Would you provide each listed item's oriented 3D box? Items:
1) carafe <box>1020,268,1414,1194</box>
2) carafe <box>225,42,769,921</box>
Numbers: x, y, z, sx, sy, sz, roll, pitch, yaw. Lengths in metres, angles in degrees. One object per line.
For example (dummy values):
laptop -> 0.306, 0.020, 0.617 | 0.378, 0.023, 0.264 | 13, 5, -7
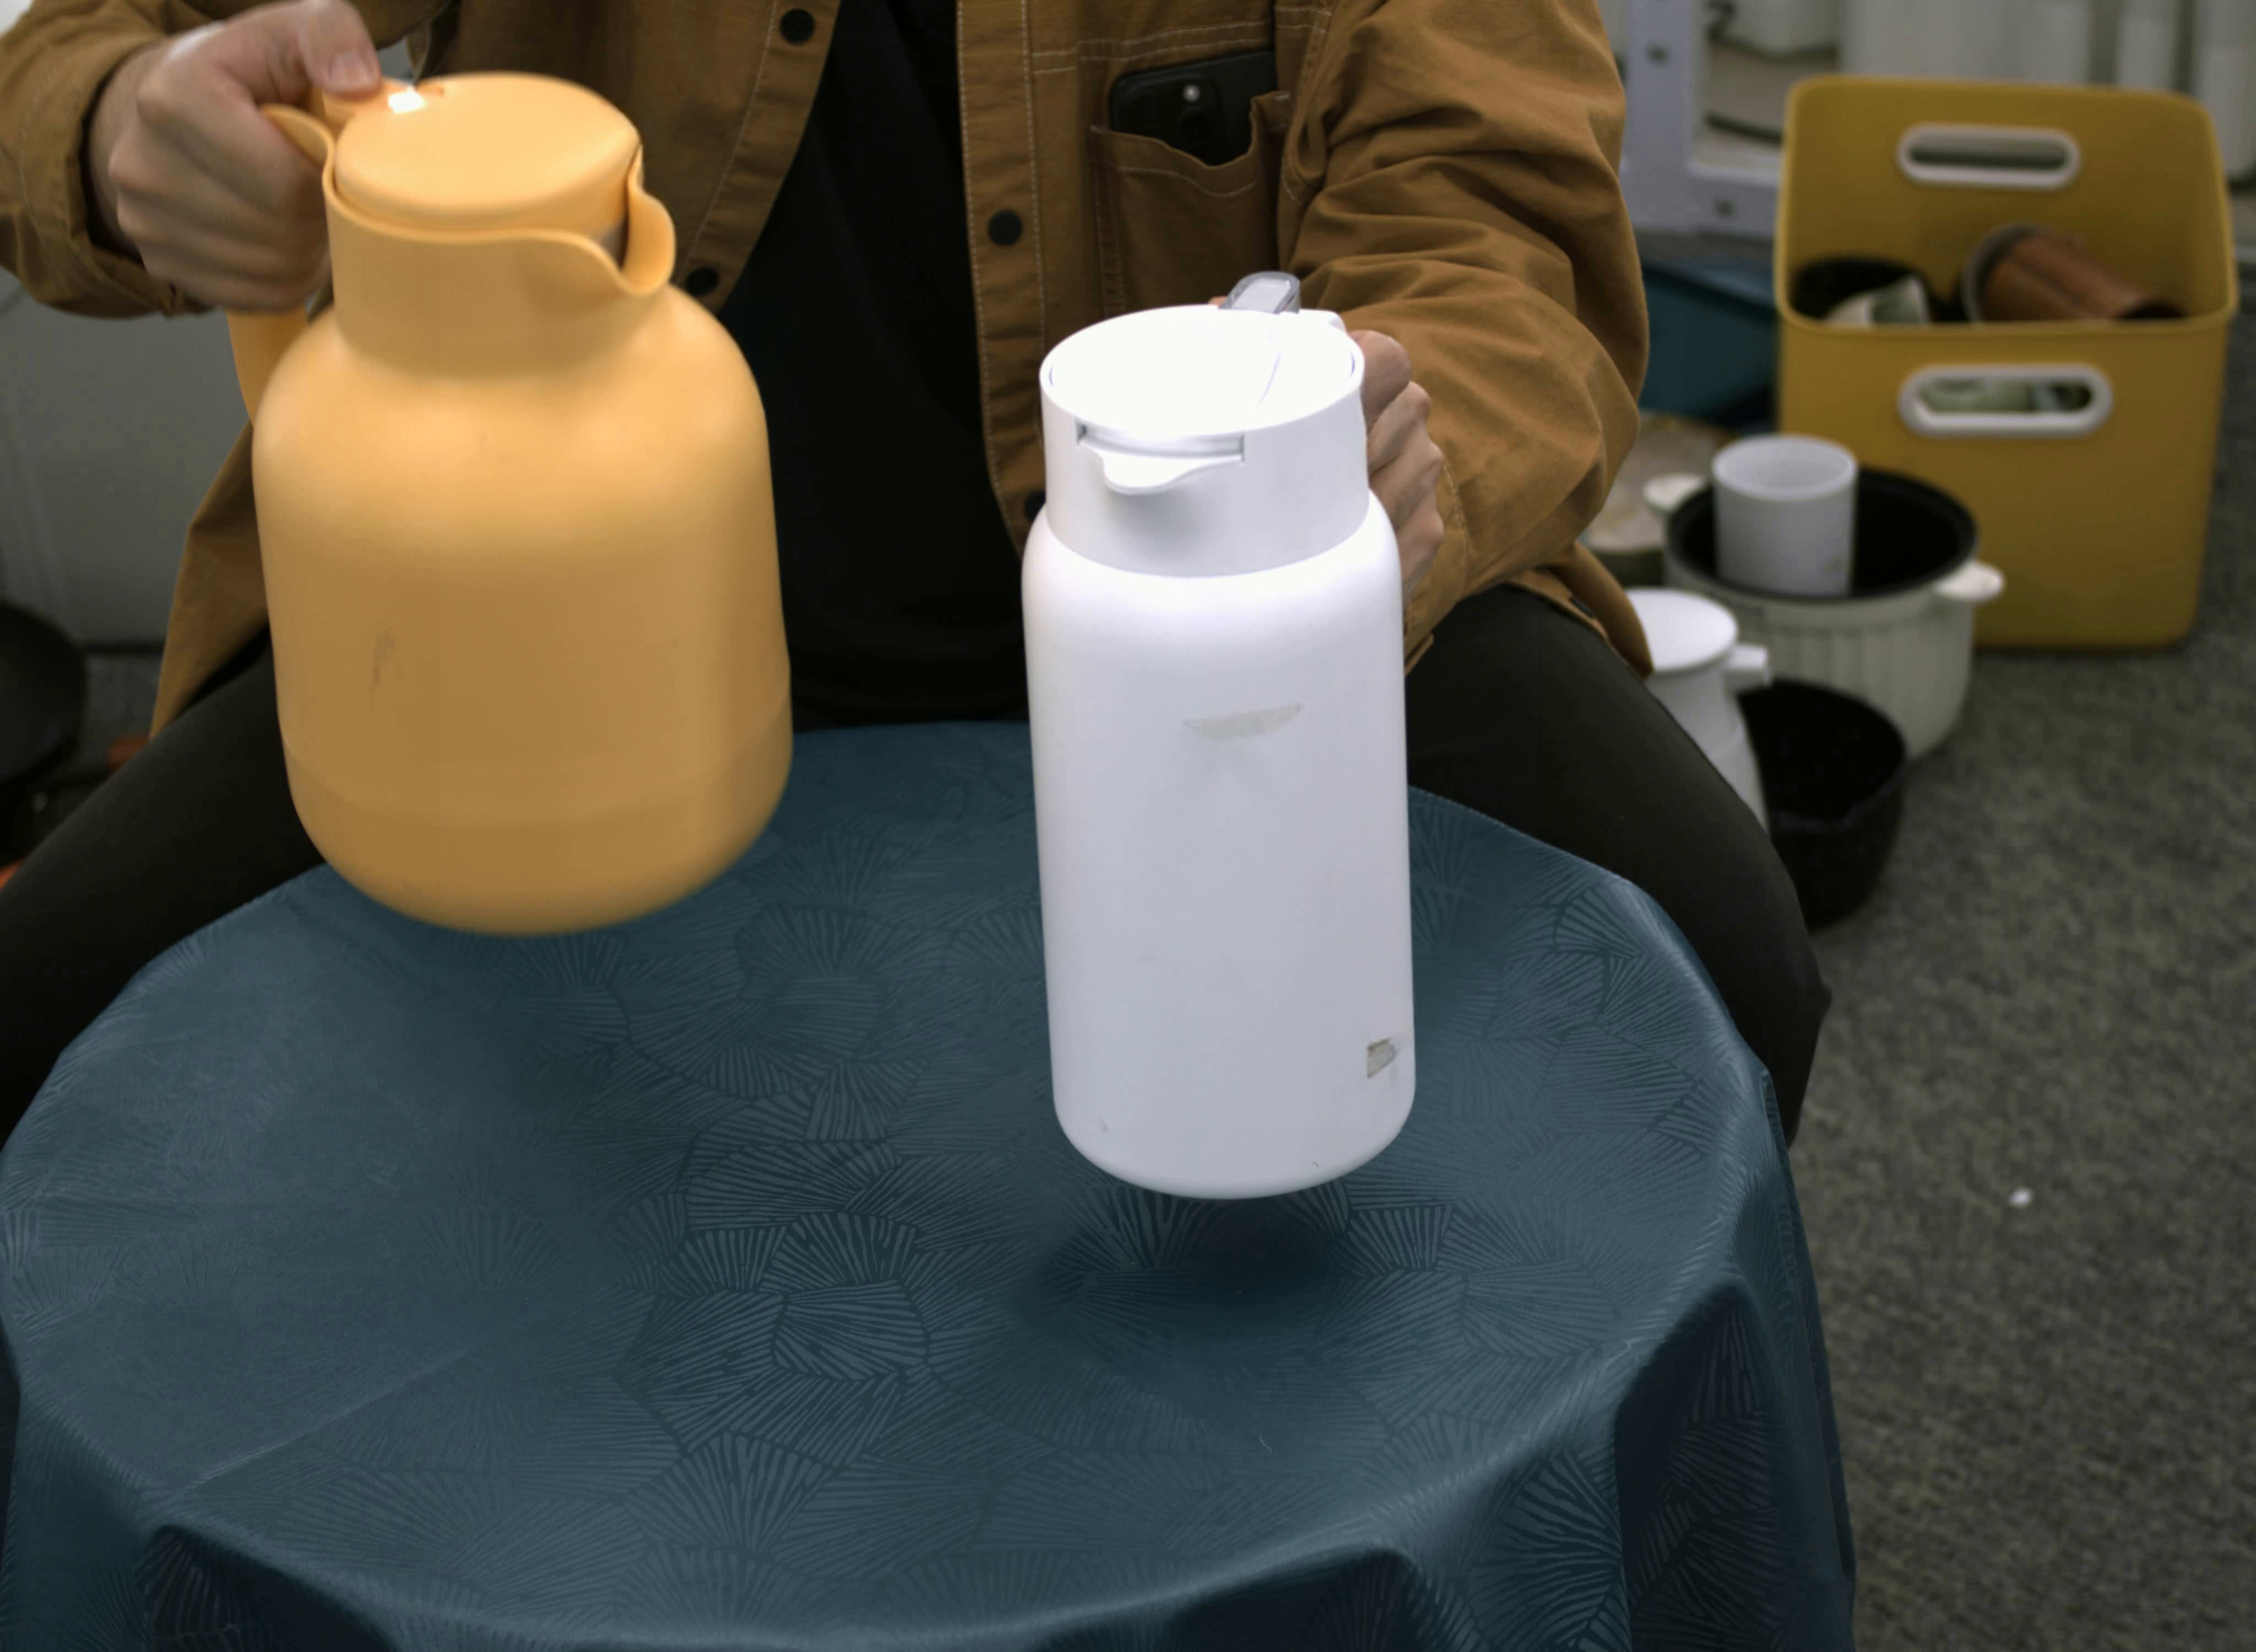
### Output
carafe -> 0.032, -0.033, 1.769 | 0.123, 0.266, 0.176 | 4, 27, 18
carafe -> -0.206, -0.118, 1.768 | 0.202, 0.257, 0.165 | 29, 39, 36
